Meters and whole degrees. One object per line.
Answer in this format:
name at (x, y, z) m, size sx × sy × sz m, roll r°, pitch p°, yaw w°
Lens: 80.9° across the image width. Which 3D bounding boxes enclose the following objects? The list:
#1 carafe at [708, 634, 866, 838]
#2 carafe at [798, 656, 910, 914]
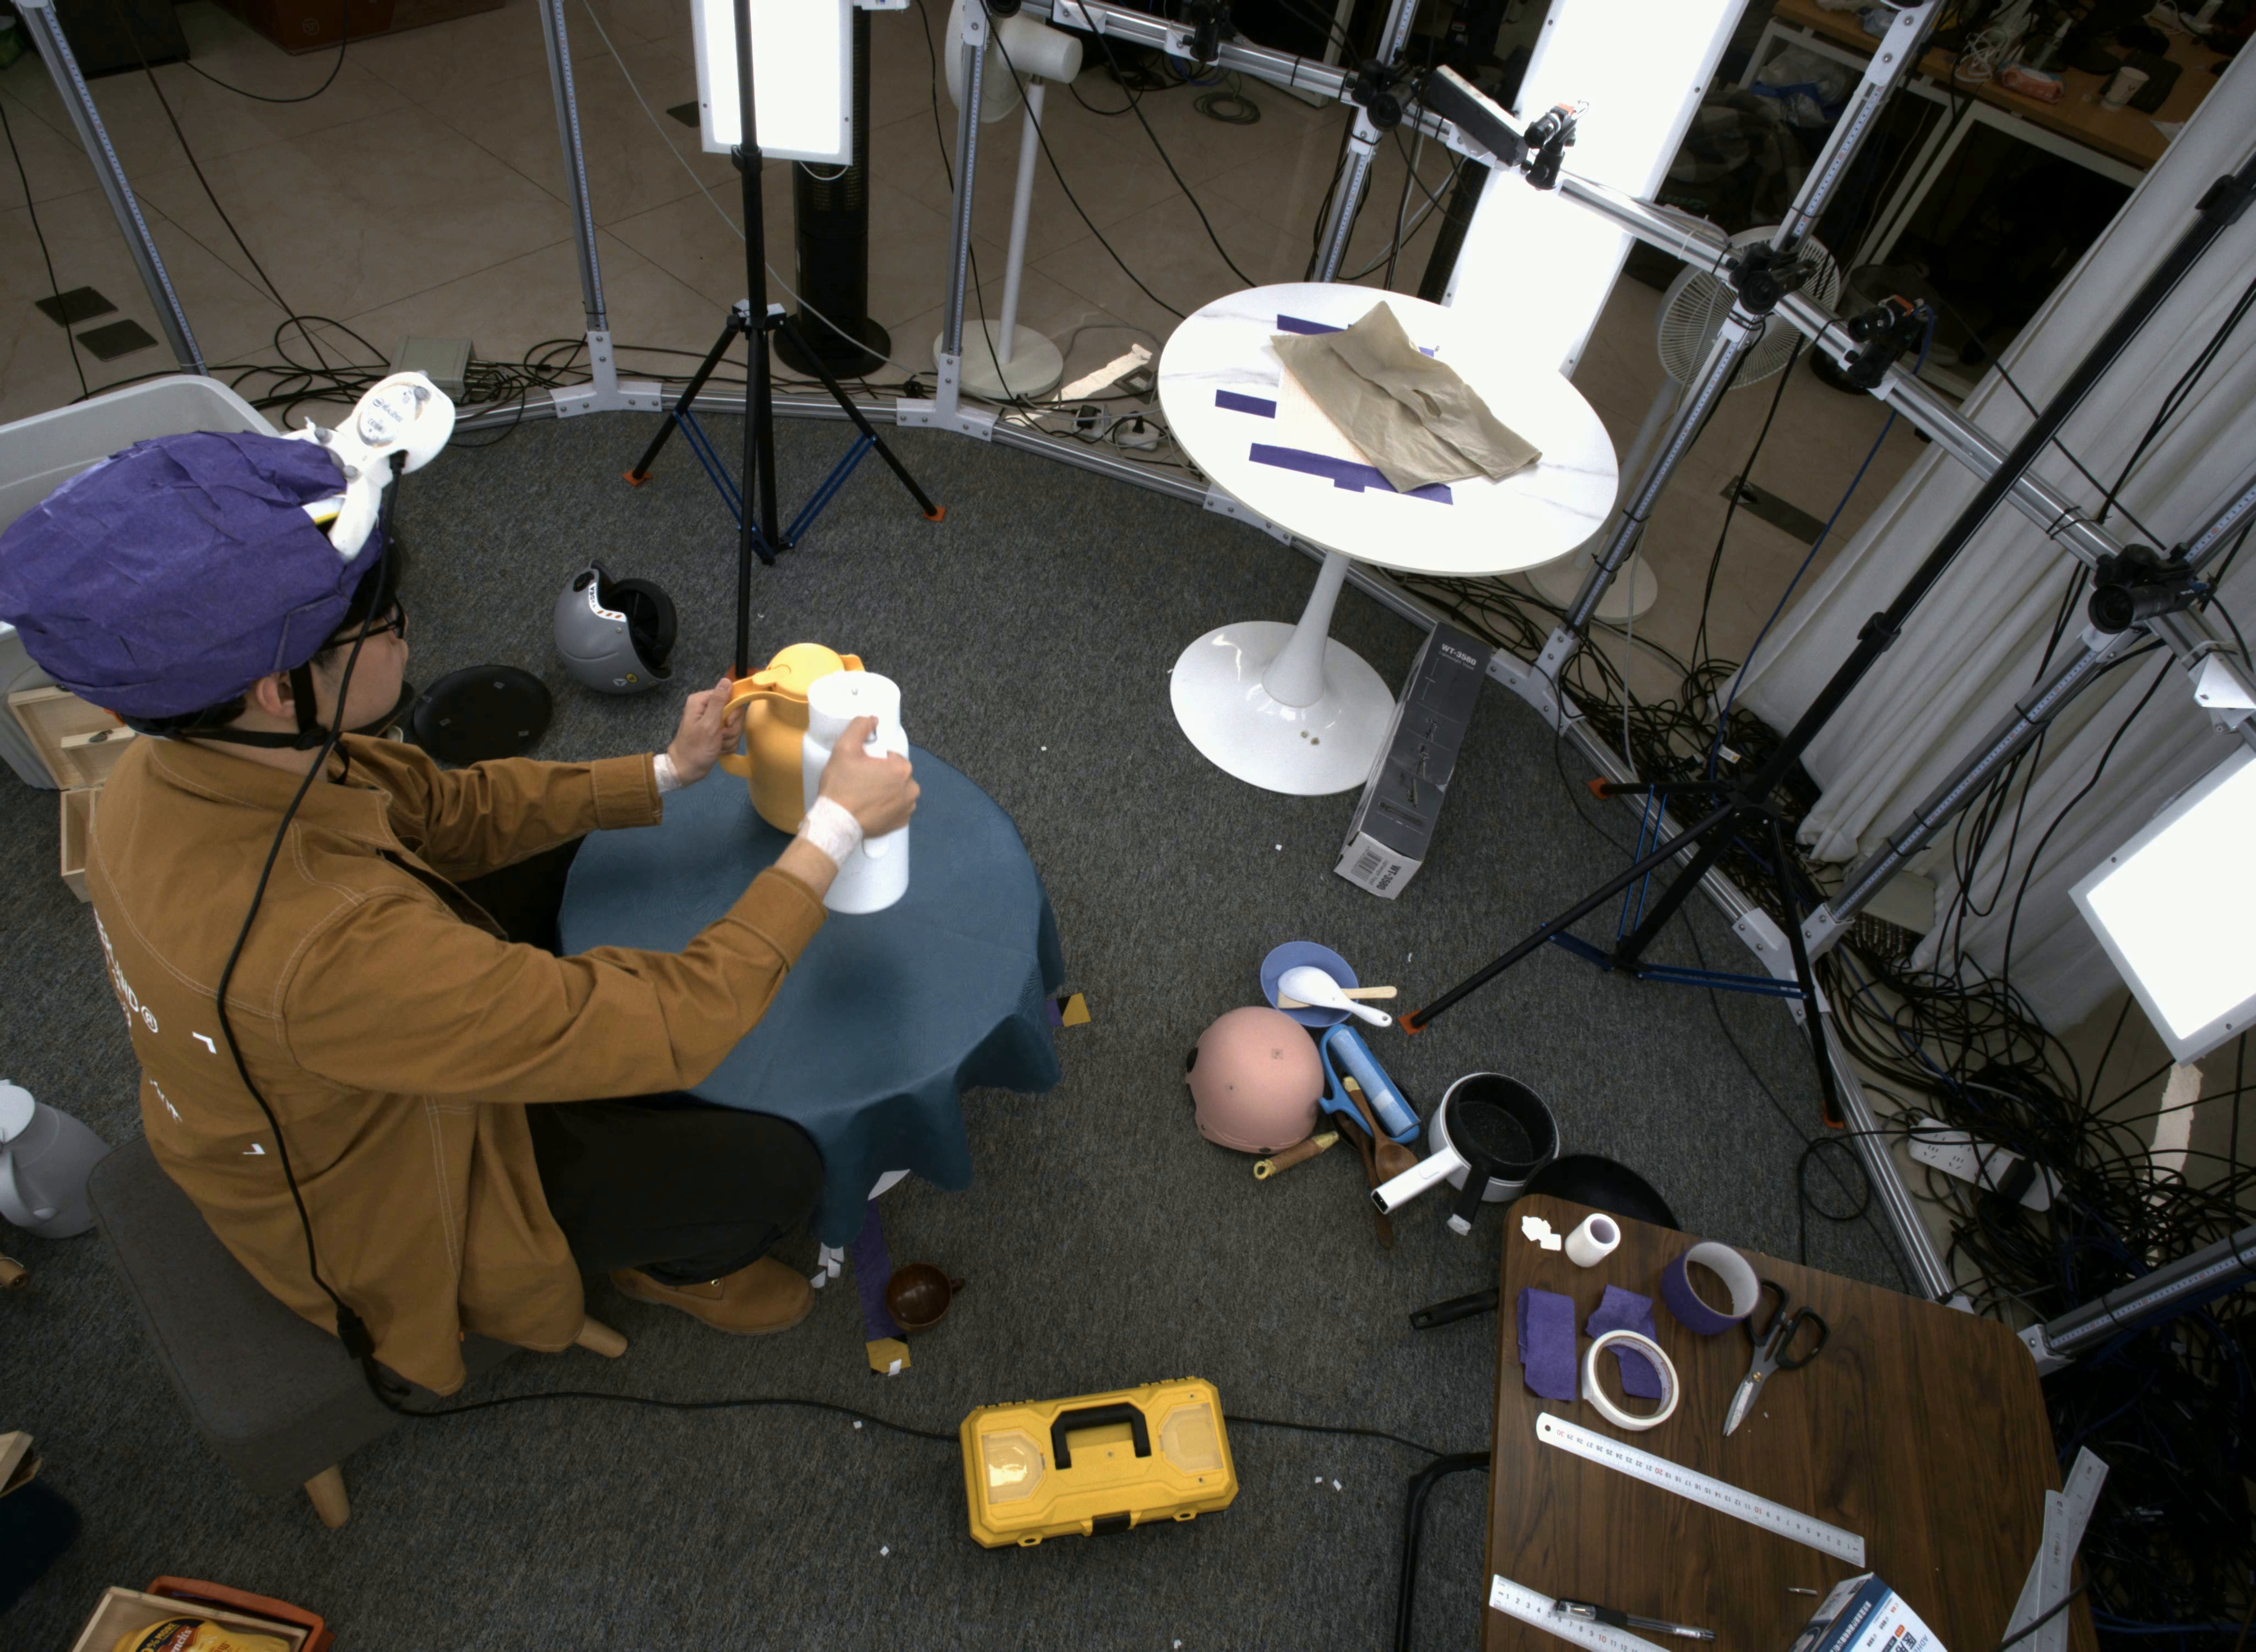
carafe at (-0.426, -0.116, 1.637) m, size 0.203 × 0.266 × 0.159 m, roll -13°, pitch 53°, yaw -23°
carafe at (-0.299, -0.030, 1.443) m, size 0.124 × 0.276 × 0.167 m, roll -8°, pitch 39°, yaw -21°
